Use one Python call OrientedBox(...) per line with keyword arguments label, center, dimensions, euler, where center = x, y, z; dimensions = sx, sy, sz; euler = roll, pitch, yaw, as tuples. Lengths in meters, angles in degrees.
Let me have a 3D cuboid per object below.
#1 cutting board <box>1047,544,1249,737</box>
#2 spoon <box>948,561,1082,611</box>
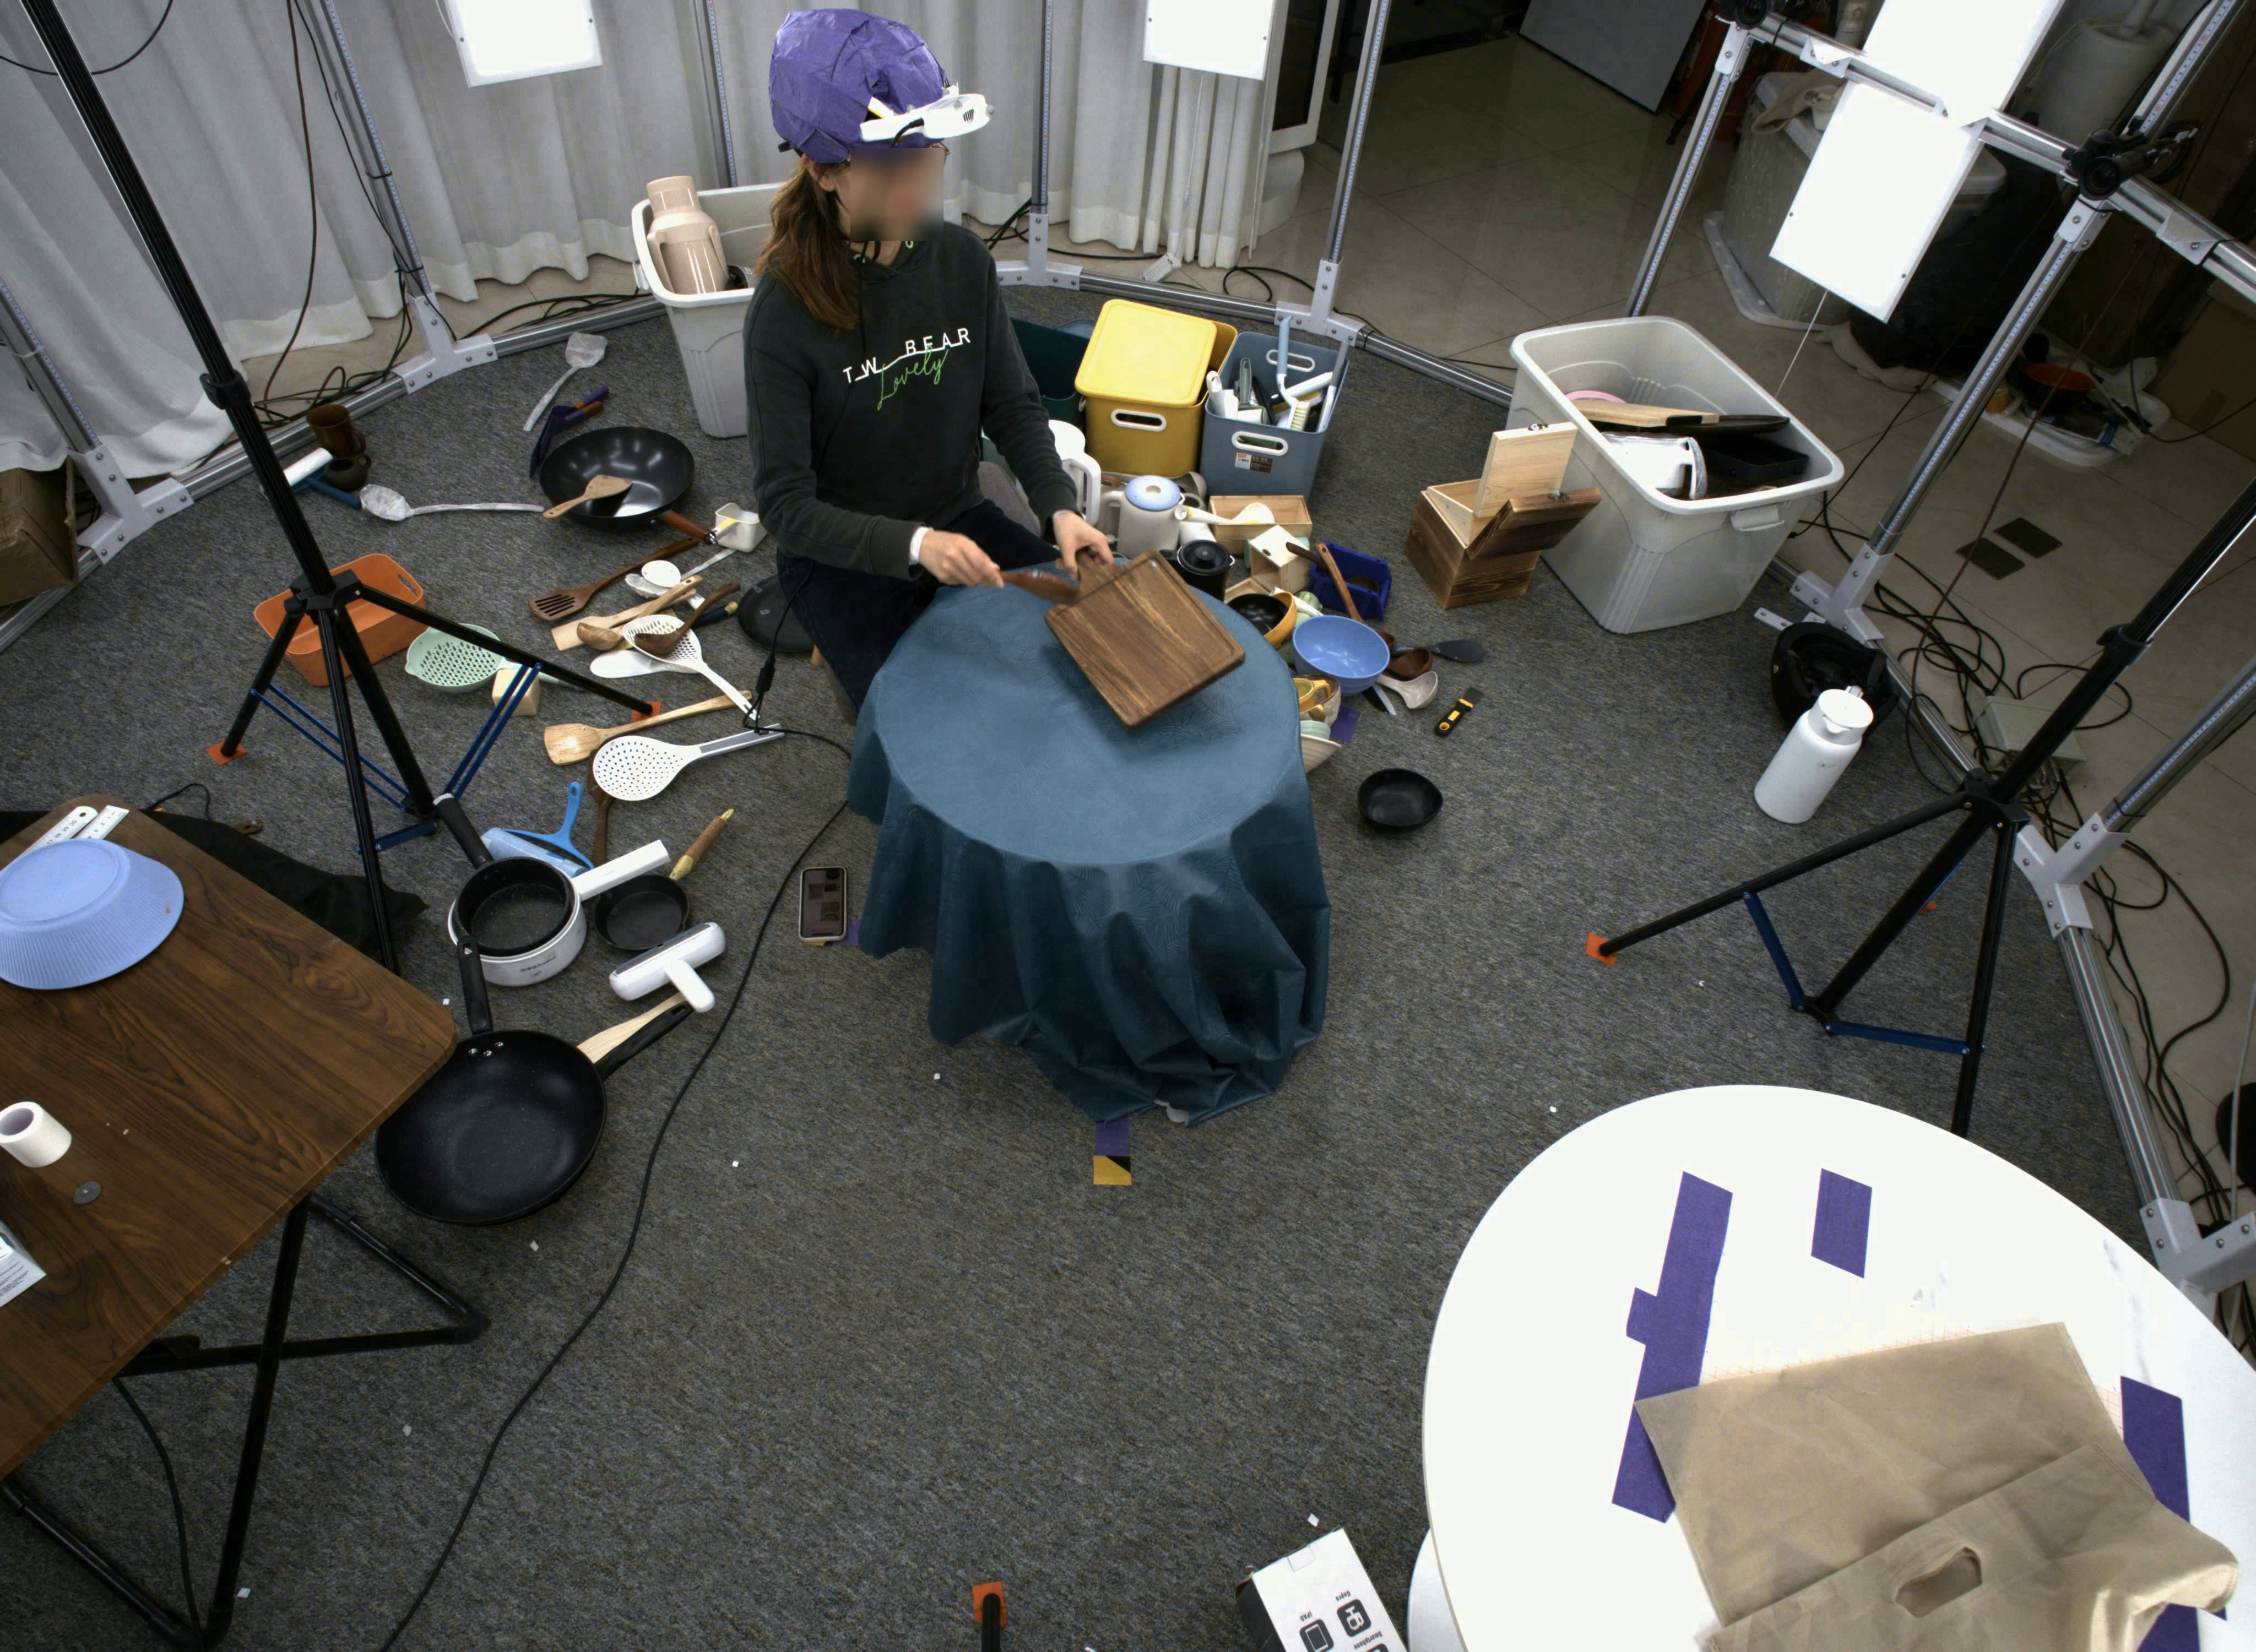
OrientedBox(label="cutting board", center=(0.000, -0.297, 1.858), dimensions=(0.201, 0.023, 0.359), euler=(-32, 57, -6))
OrientedBox(label="spoon", center=(-0.158, -0.328, 1.763), dimensions=(0.218, 0.074, 0.017), euler=(20, 85, 26))
